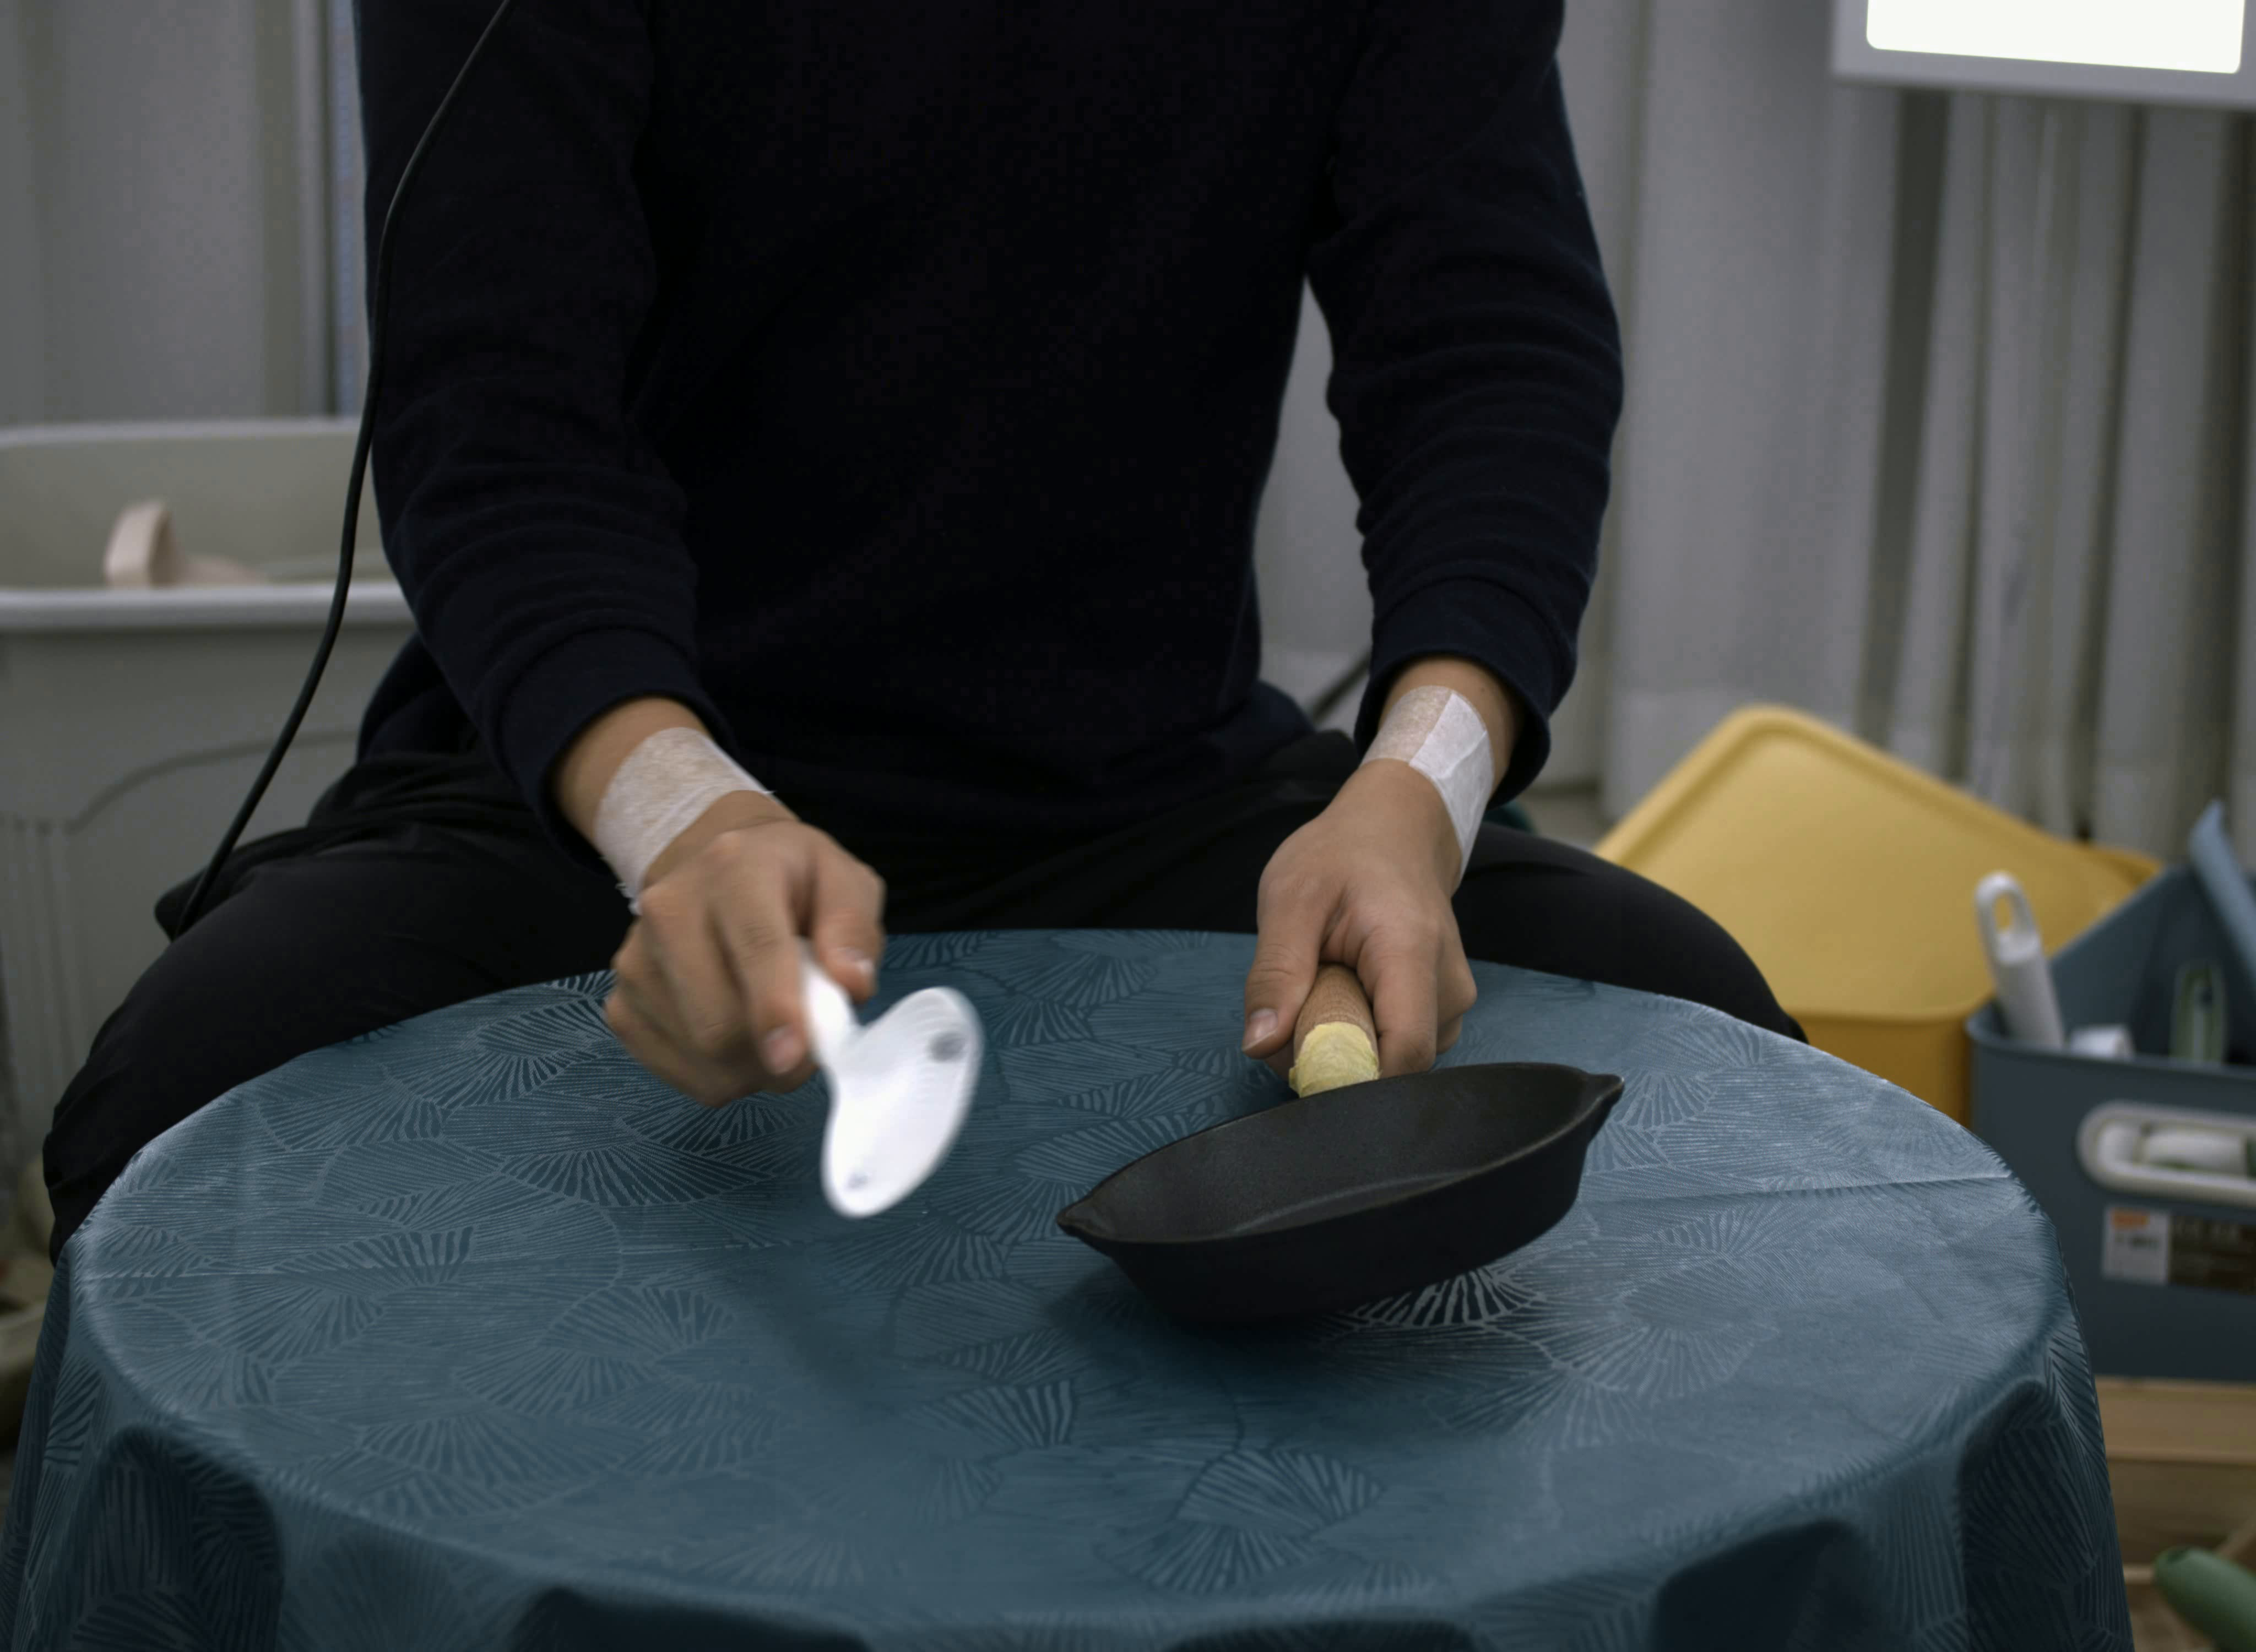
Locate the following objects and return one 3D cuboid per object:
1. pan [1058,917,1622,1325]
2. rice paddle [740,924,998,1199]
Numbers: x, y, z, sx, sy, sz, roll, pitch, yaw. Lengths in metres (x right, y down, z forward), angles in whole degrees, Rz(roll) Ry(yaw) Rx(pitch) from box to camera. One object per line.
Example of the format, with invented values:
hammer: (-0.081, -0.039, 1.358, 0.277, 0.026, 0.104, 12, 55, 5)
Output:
pan: (0.067, 0.084, 1.605, 0.168, 0.050, 0.323, -14, 10, 6)
rice paddle: (-0.076, 0.062, 1.533, 0.029, 0.069, 0.203, 28, 1, -20)
